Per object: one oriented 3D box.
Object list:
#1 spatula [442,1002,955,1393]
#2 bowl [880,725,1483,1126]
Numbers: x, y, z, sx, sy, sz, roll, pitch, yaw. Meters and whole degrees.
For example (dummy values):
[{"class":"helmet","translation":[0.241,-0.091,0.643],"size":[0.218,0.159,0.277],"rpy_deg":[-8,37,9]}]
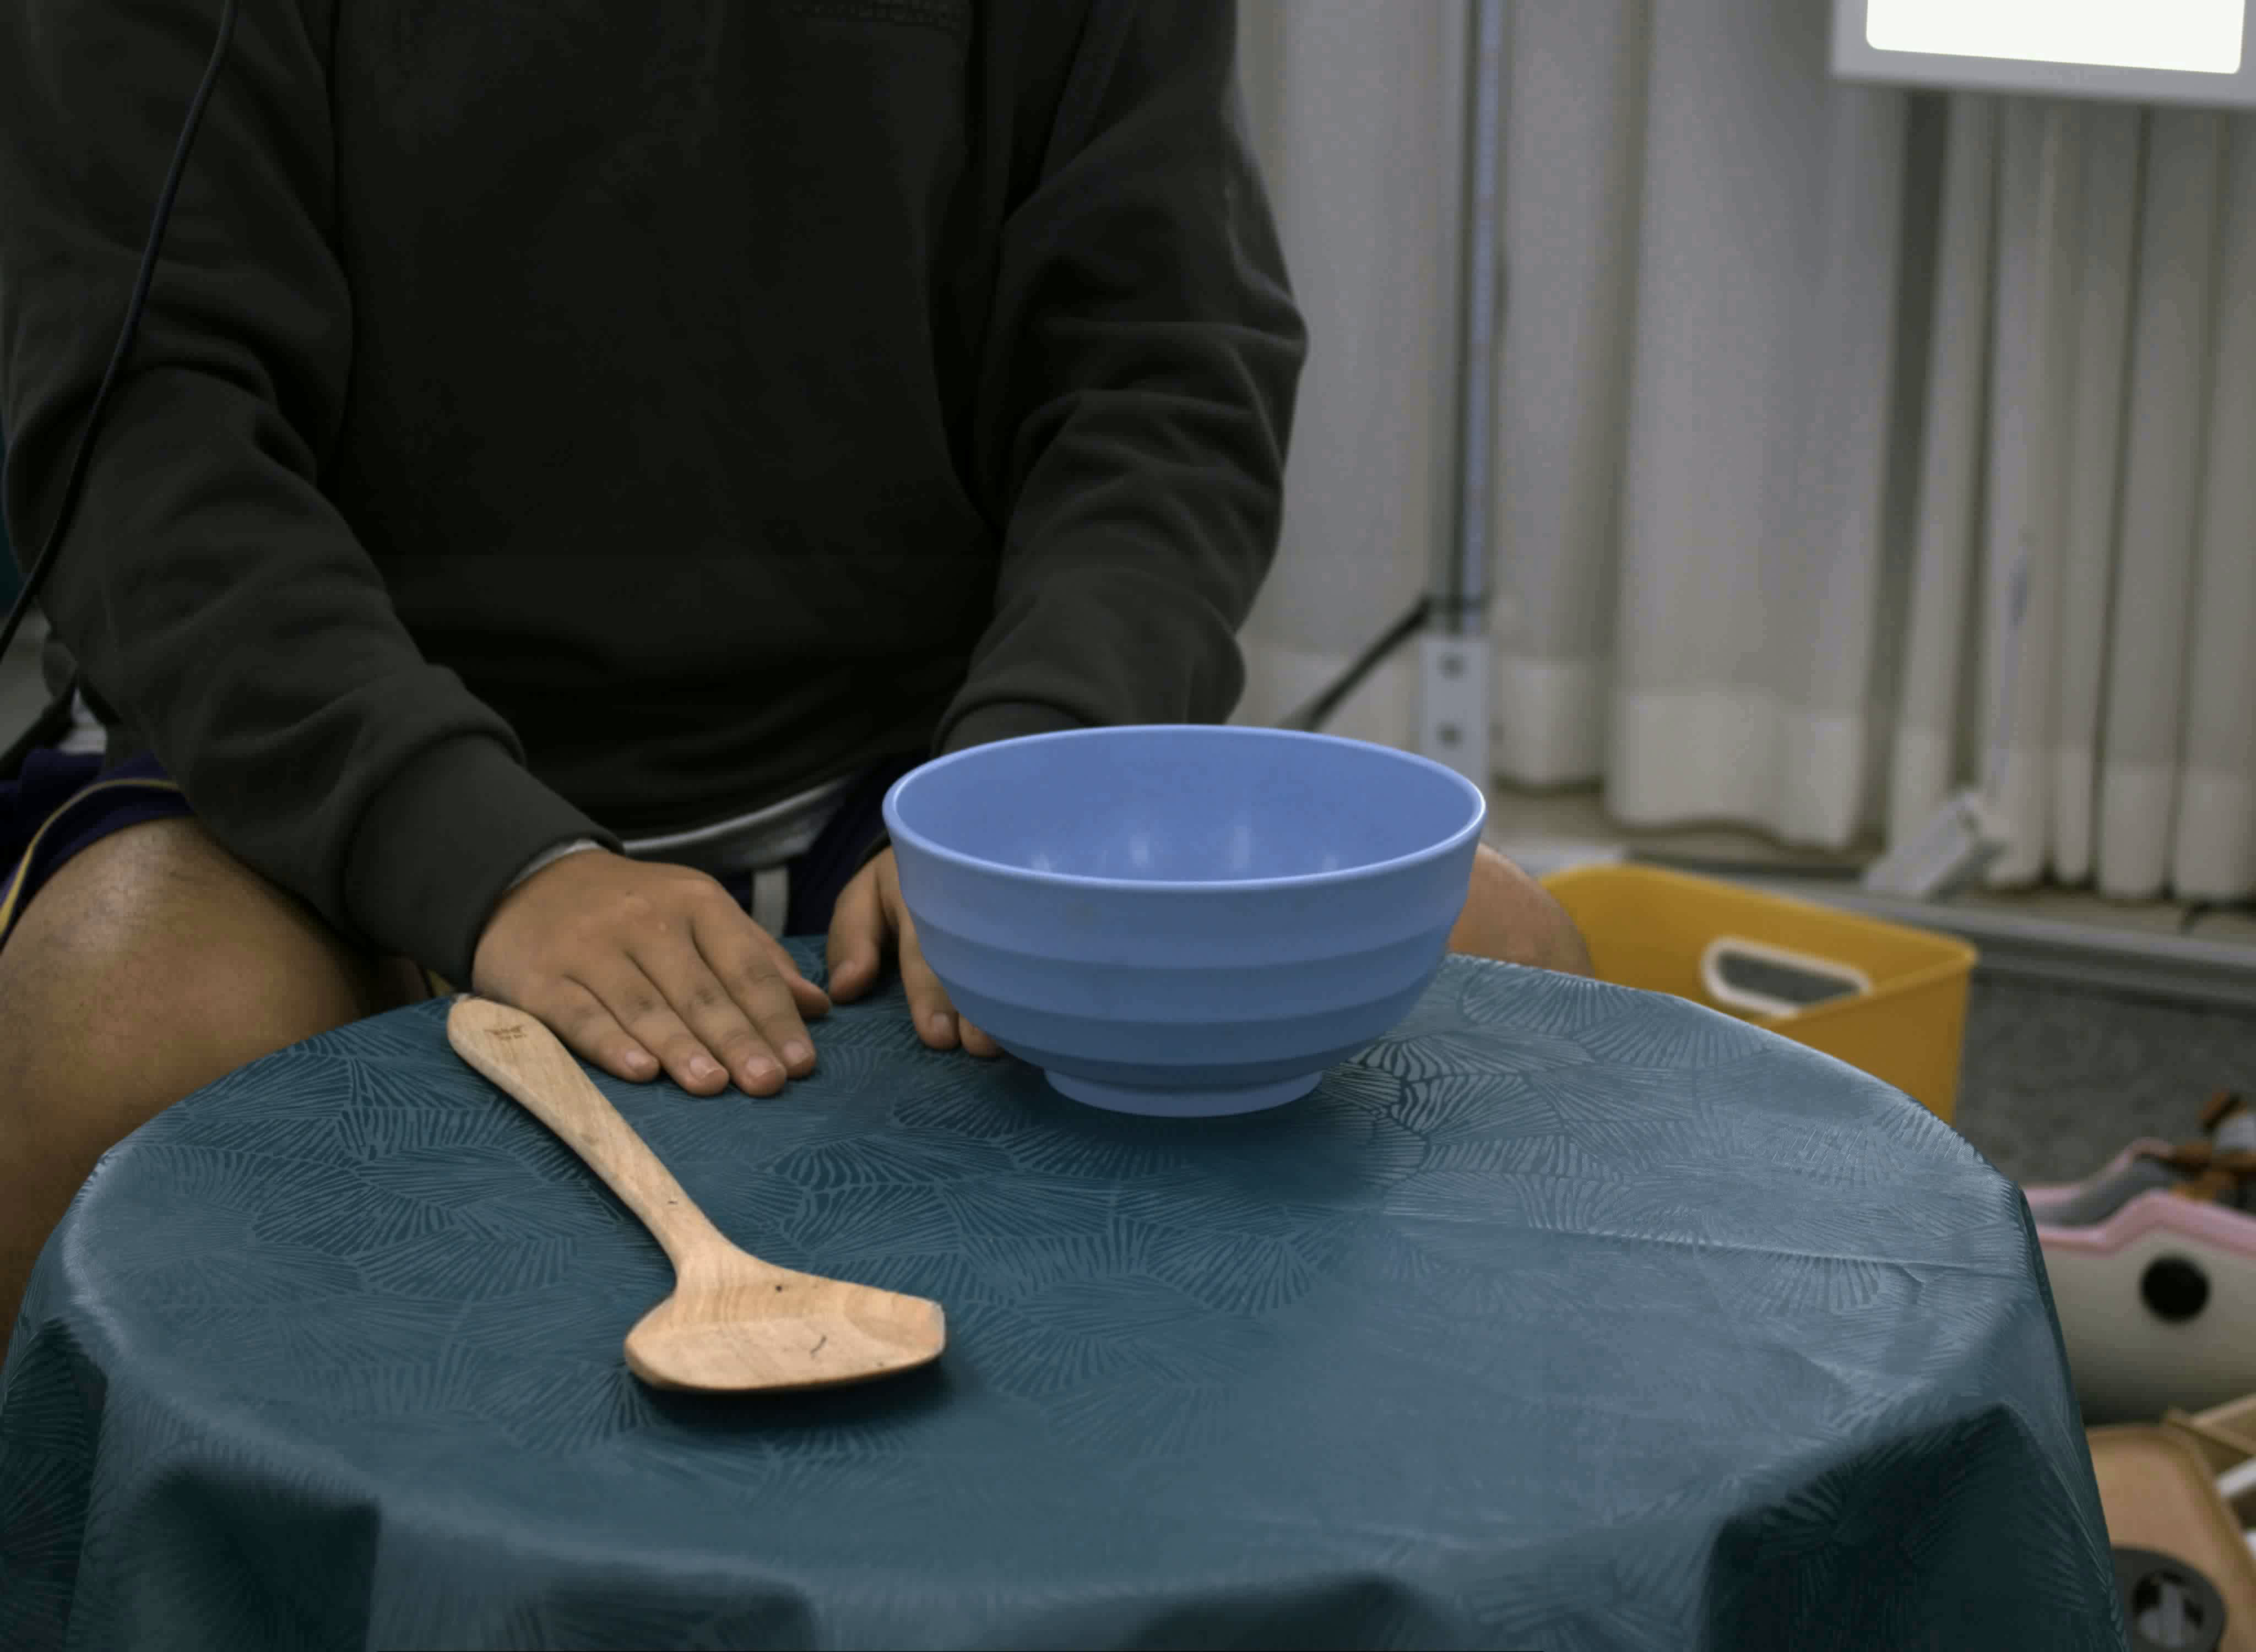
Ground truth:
[{"class":"spatula","translation":[-0.155,0.108,1.600],"size":[0.096,0.018,0.386],"rpy_deg":[-4,16,-22]},{"class":"bowl","translation":[0.019,0.038,1.722],"size":[0.196,0.096,0.195],"rpy_deg":[-1,18,1]}]
